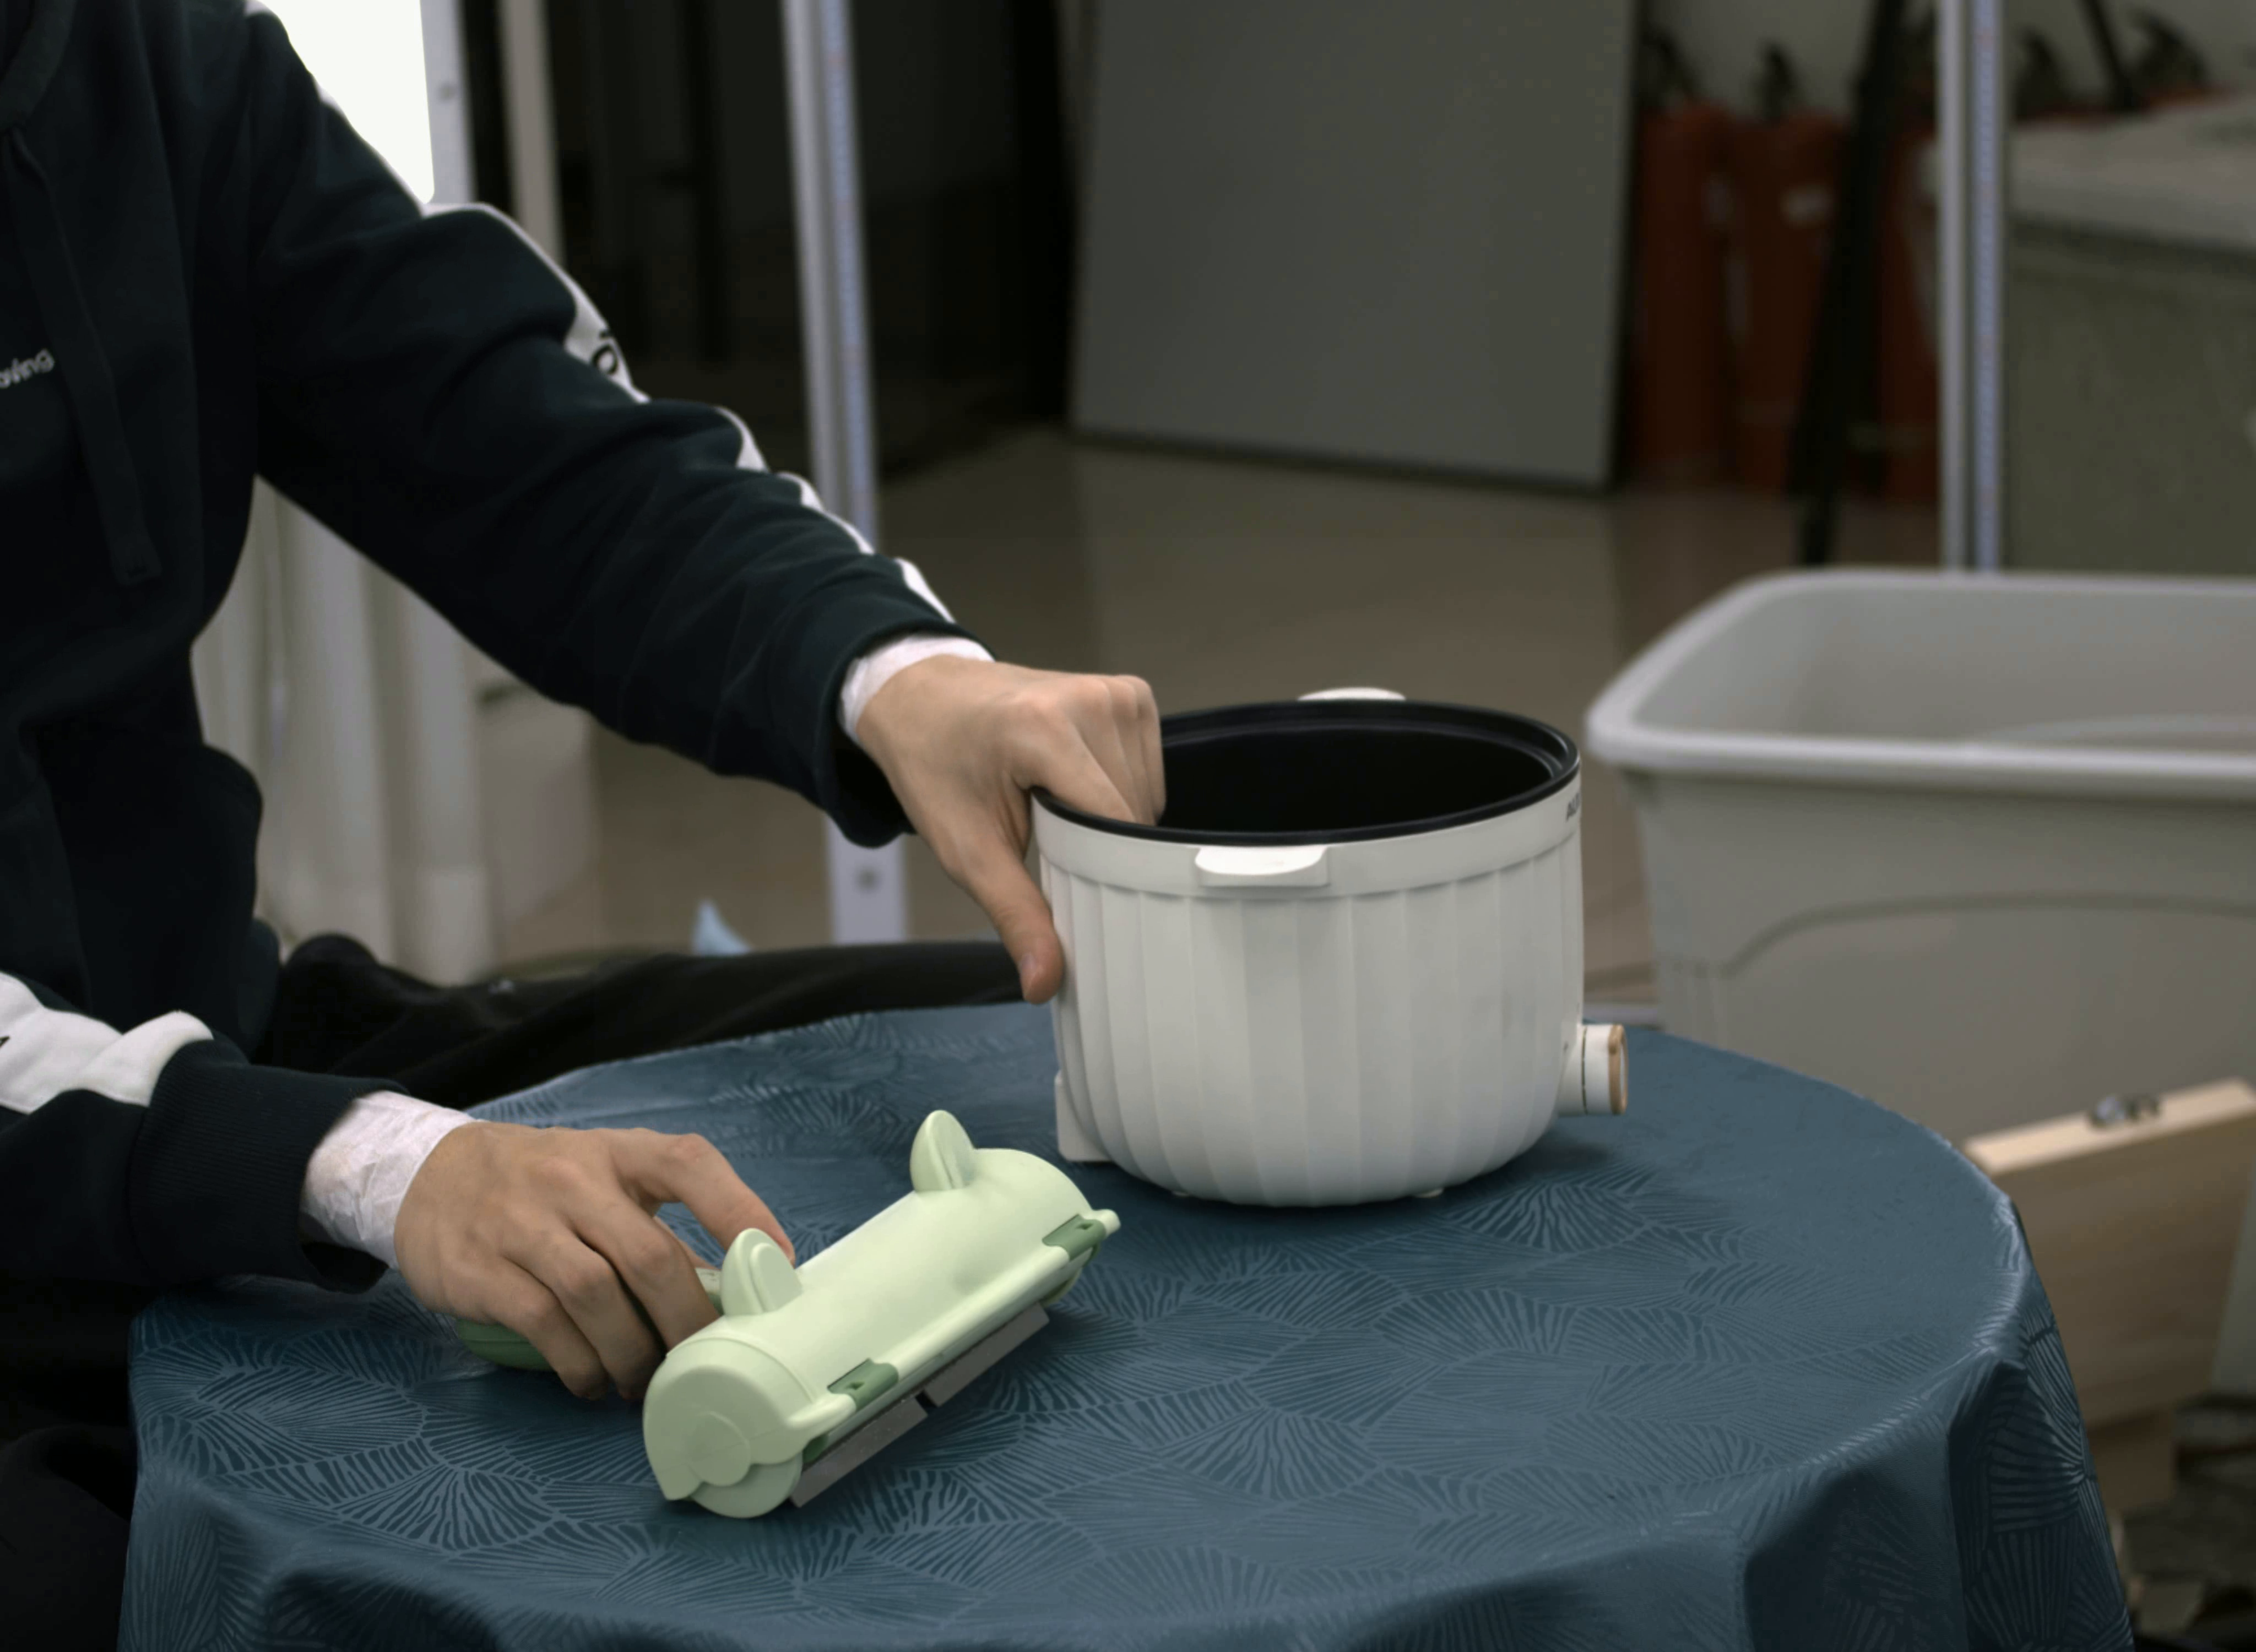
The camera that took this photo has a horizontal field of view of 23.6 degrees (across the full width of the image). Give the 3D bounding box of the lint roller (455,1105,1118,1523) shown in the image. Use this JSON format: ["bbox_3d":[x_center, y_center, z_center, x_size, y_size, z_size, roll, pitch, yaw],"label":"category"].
[{"bbox_3d":[-0.122,0.132,1.605,0.184,0.083,0.196,9,18,26],"label":"lint roller"}]

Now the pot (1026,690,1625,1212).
[{"bbox_3d":[0.066,0.043,1.778,0.189,0.144,0.239,-4,15,12],"label":"pot"}]
